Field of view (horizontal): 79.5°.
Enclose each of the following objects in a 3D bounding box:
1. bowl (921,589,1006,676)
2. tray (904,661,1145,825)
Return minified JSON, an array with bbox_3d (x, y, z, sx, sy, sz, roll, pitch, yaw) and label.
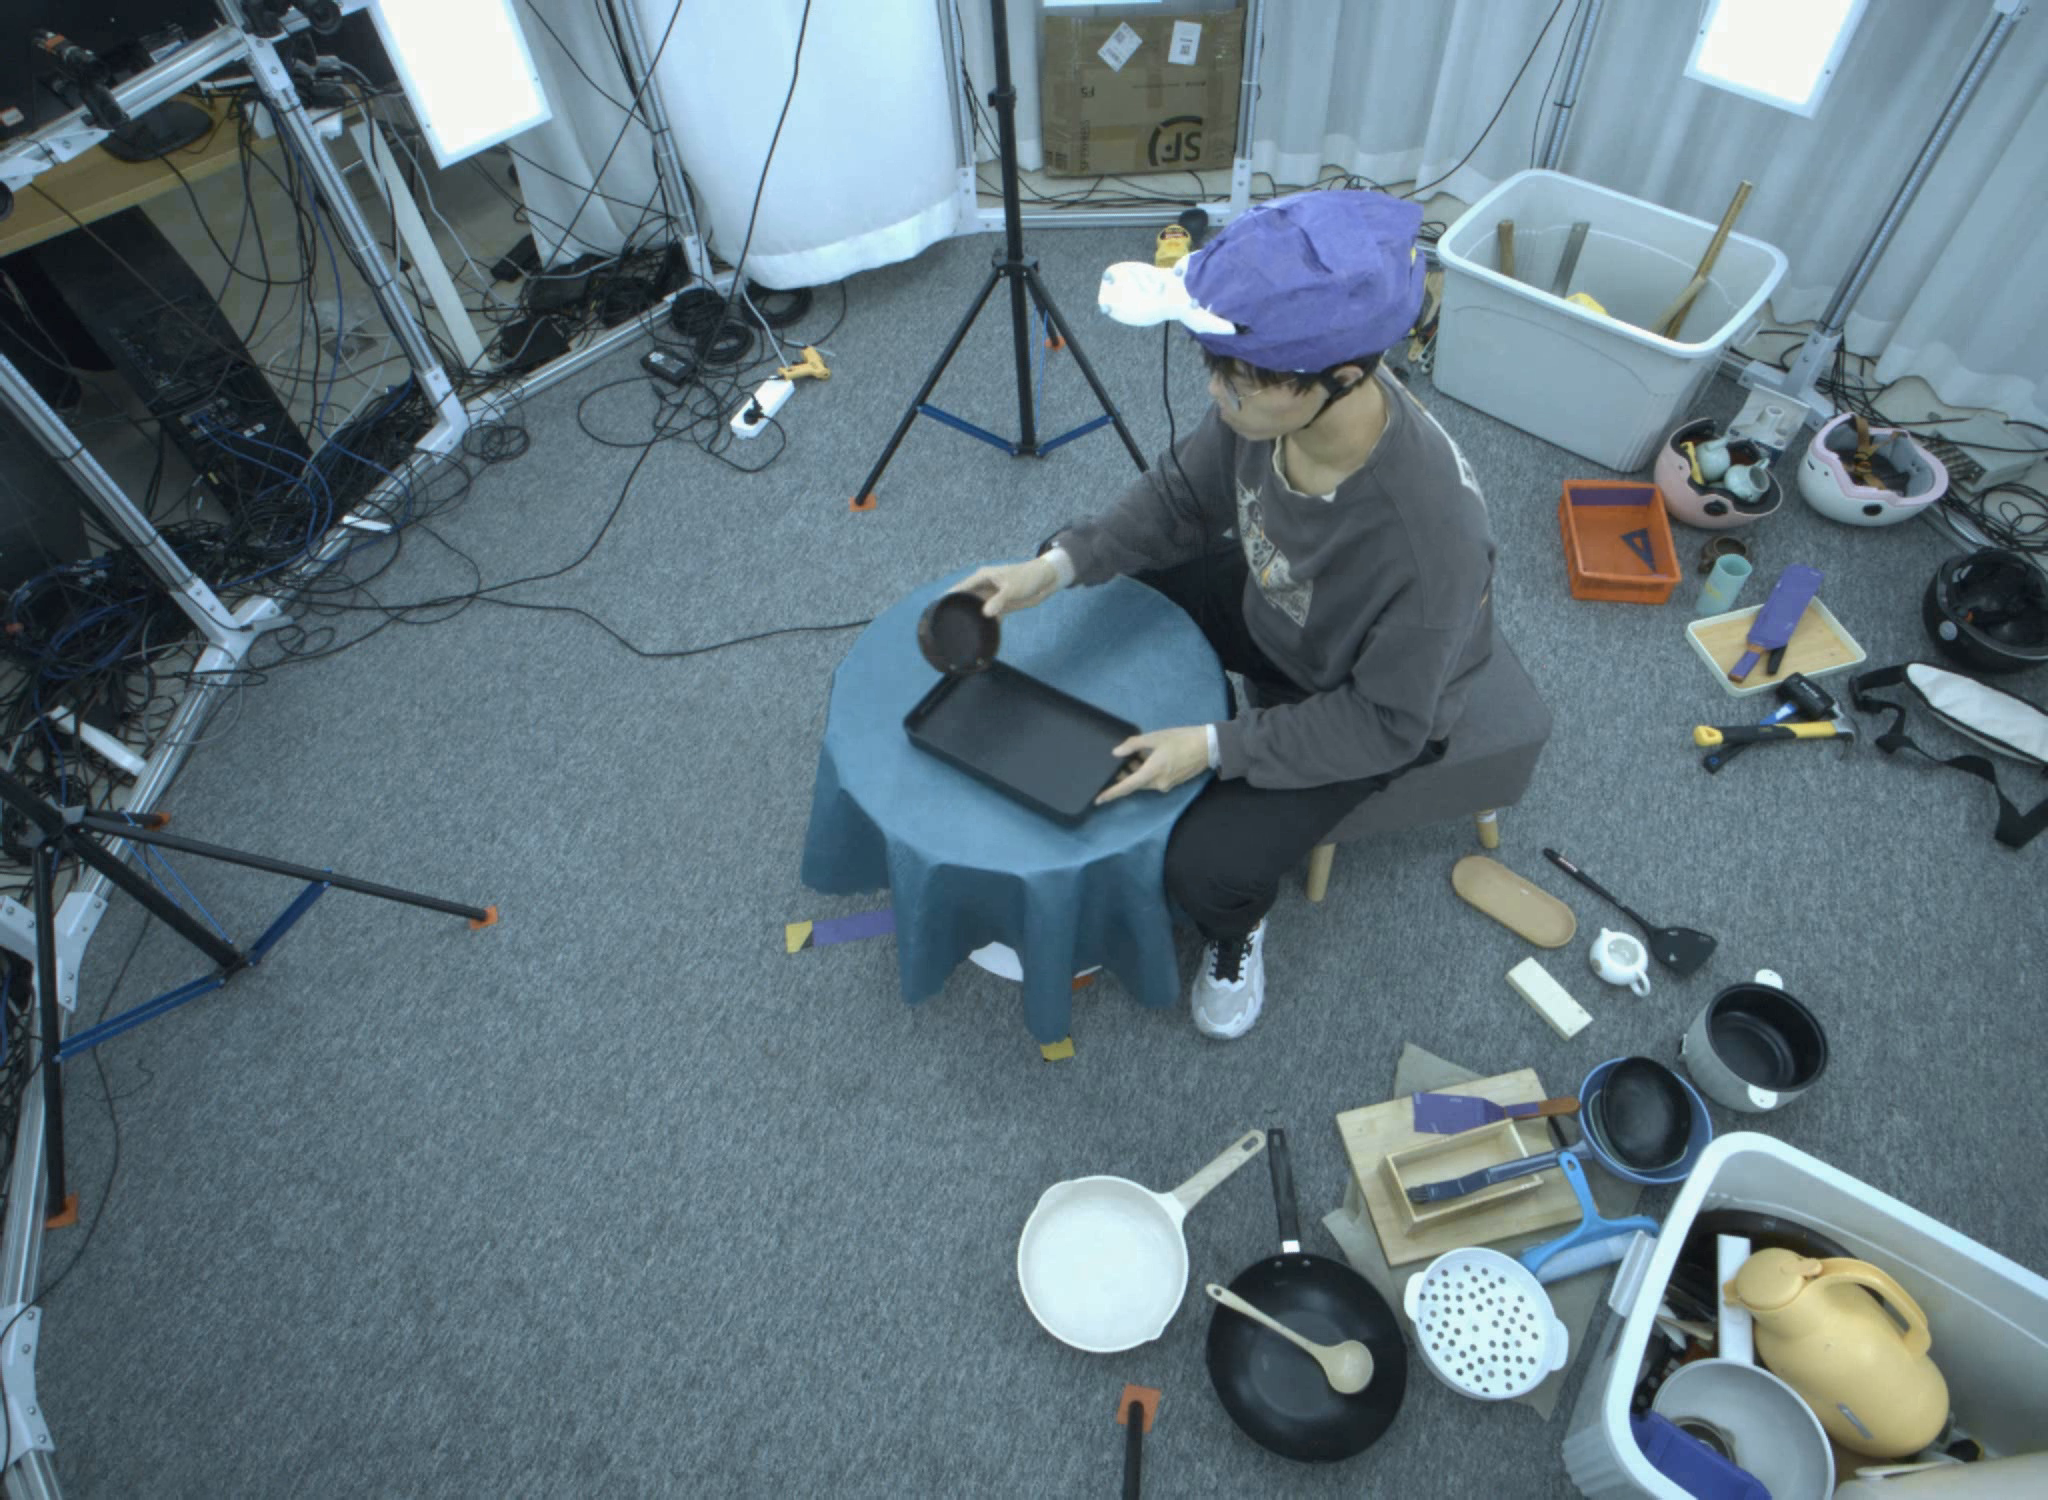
[{"bbox_3d":[-0.092,-0.161,1.714,0.120,0.068,0.117,5,81,-34],"label":"bowl"},{"bbox_3d":[0.000,-0.020,1.769,0.312,0.037,0.185,25,58,22],"label":"tray"}]
